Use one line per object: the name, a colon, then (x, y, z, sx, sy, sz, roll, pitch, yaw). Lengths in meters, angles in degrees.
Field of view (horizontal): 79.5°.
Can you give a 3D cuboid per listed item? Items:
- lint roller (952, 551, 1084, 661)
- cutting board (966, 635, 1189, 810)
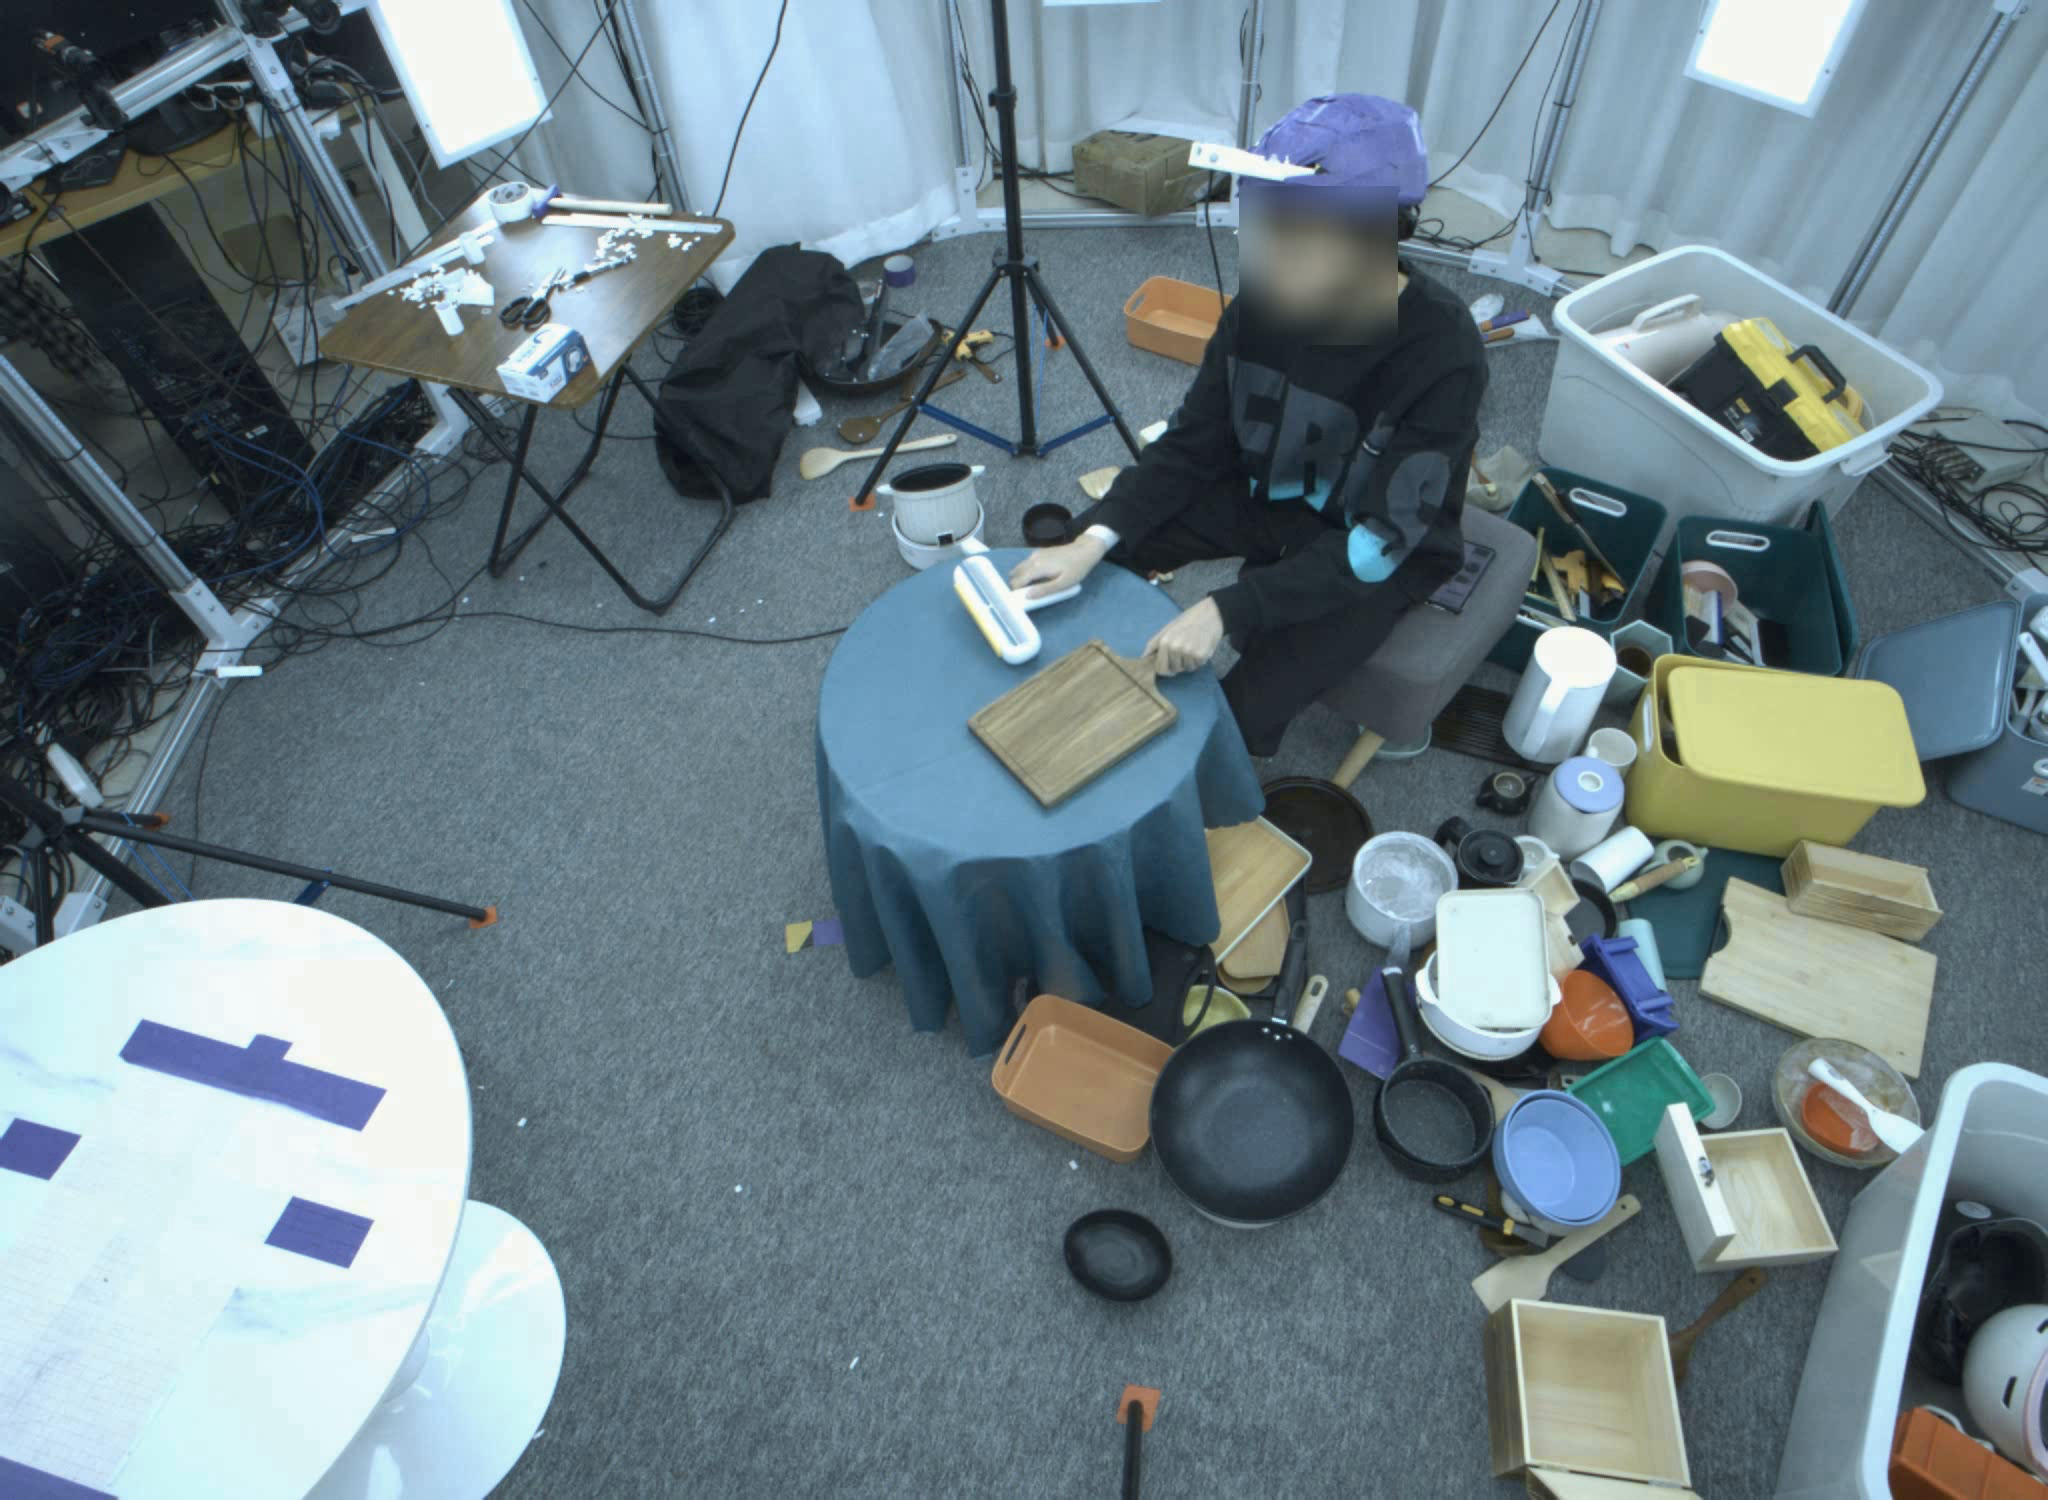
lint roller: (0.006, -0.239, 1.911, 0.194, 0.074, 0.190, -23, 65, -16)
cutting board: (0.108, -0.070, 1.813, 0.355, 0.023, 0.197, -34, 60, -19)
